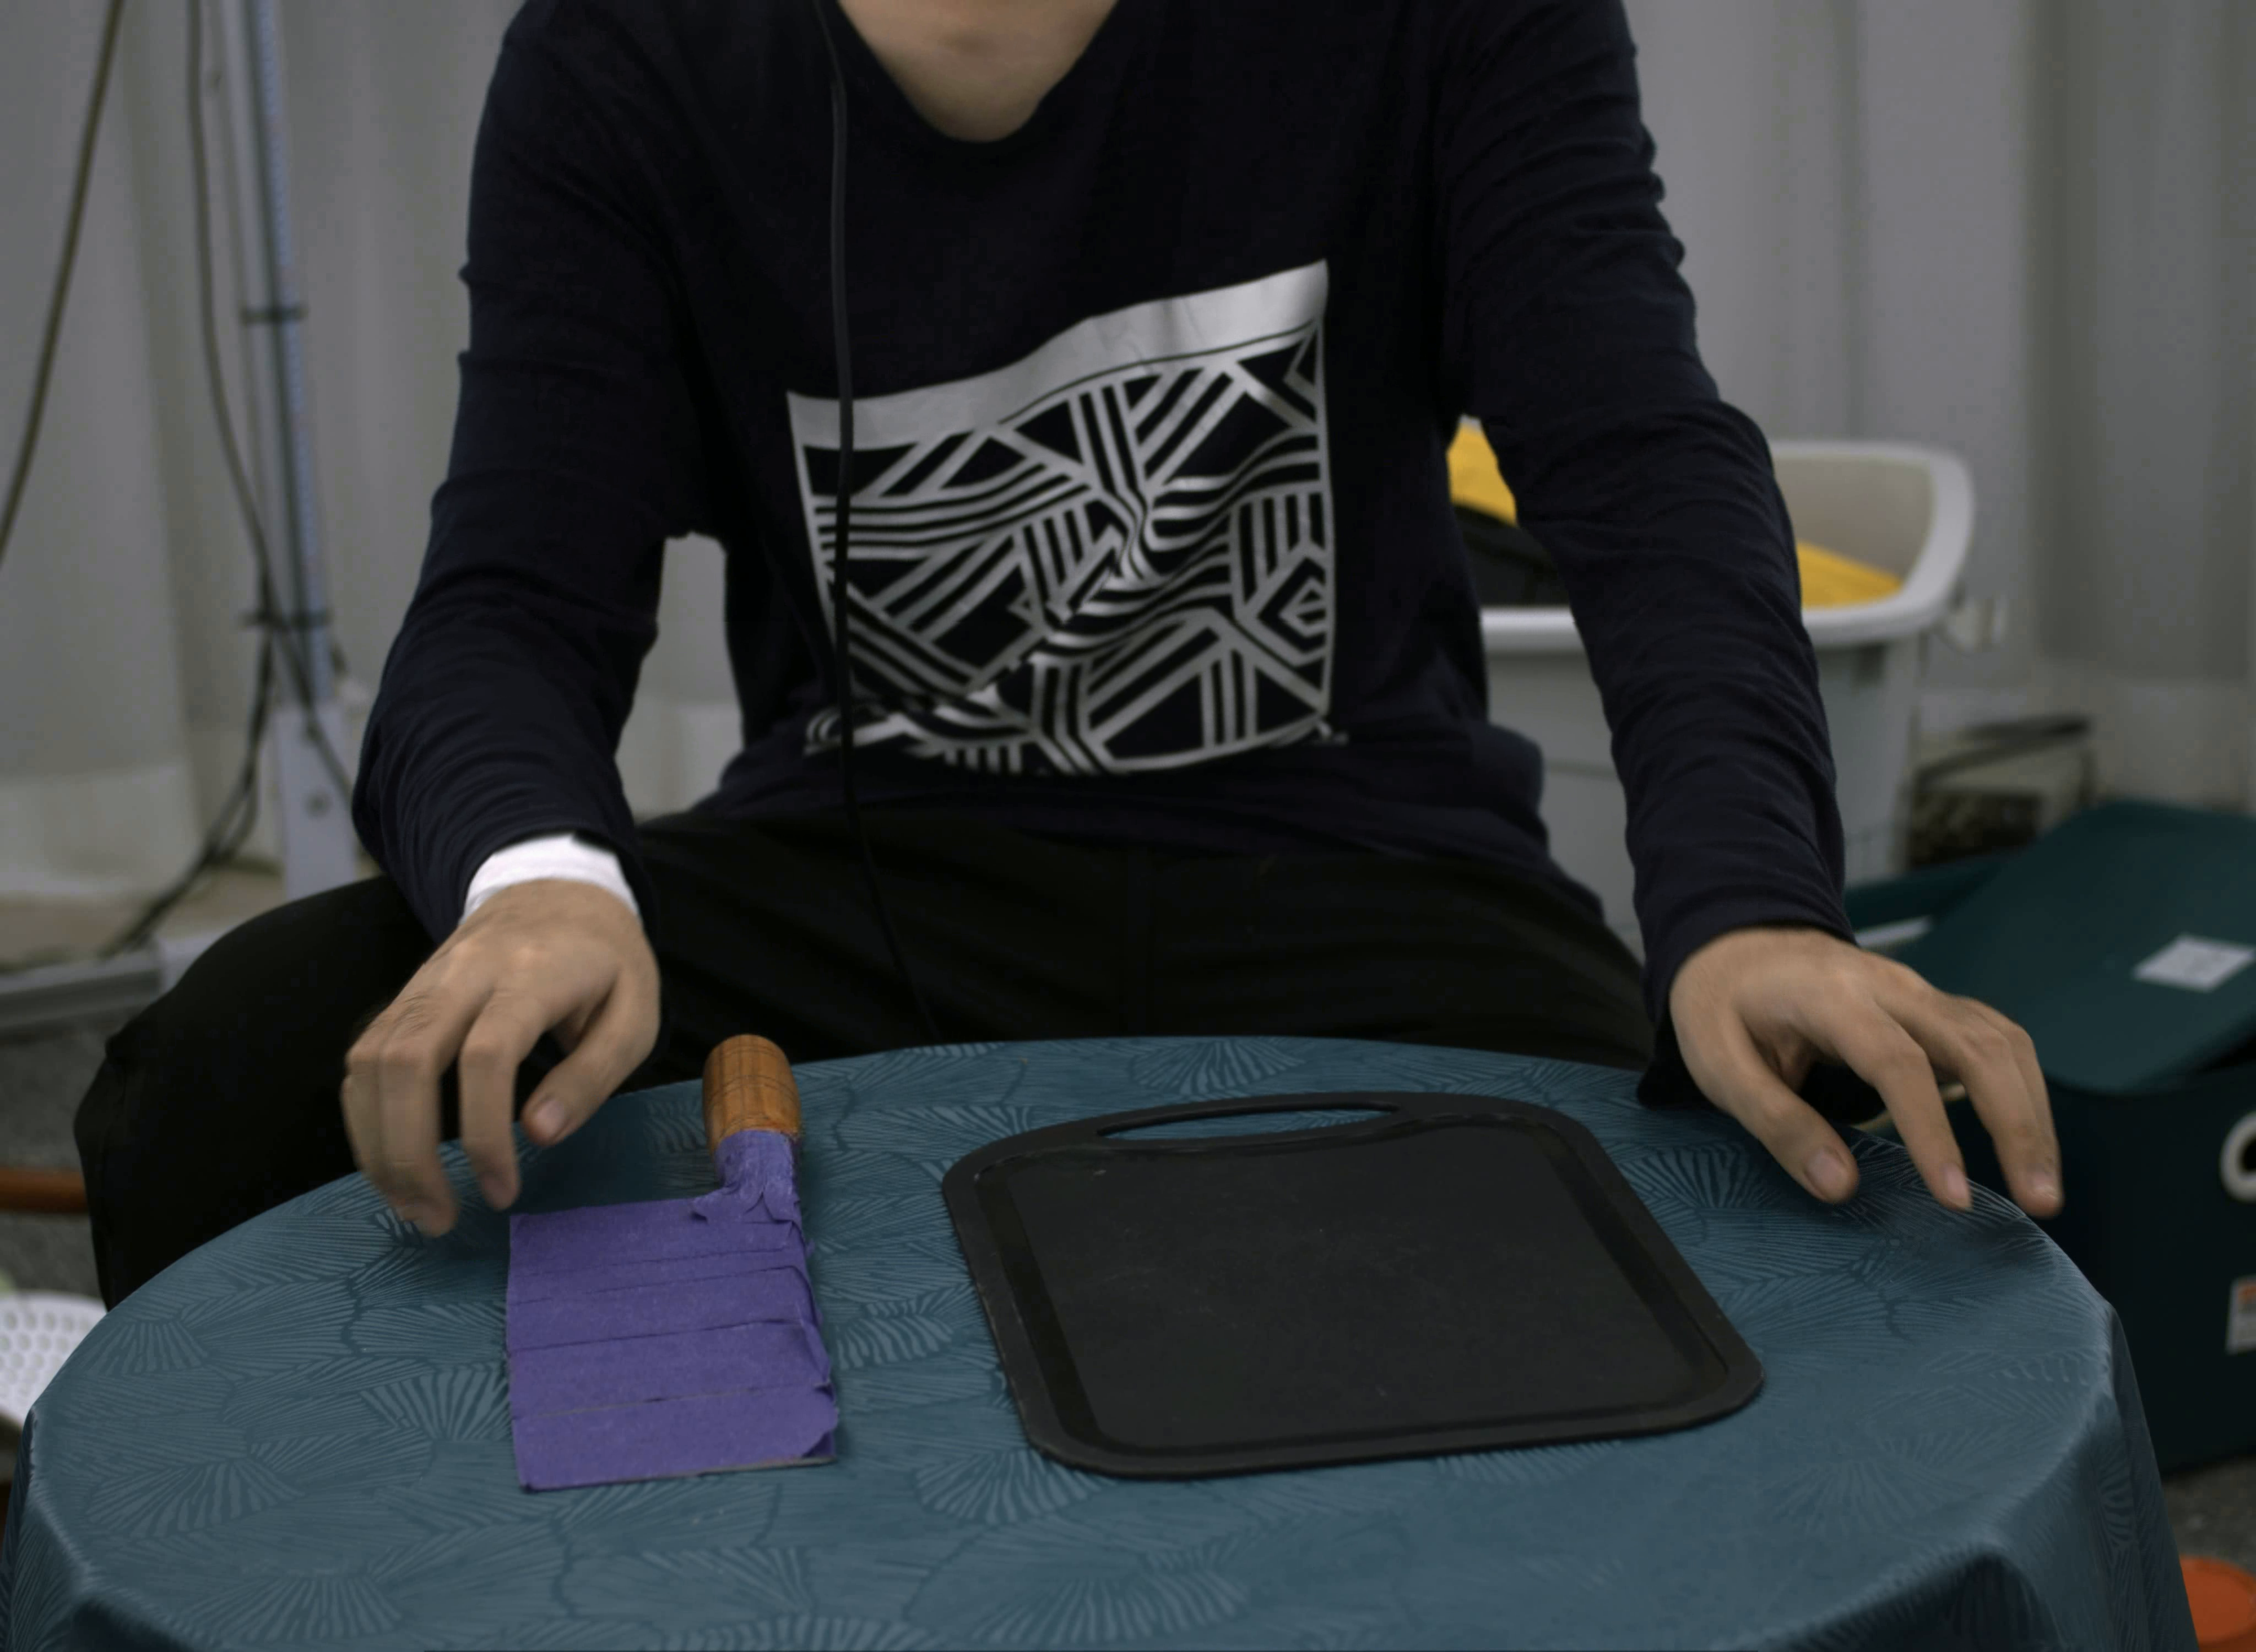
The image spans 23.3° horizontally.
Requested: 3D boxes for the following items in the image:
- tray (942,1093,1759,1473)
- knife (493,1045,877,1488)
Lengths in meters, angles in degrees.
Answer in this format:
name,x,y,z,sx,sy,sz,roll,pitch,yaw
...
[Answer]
name,x,y,z,sx,sy,sz,roll,pitch,yaw
tray,0.057,0.129,1.638,0.210,0.010,0.328,-4,15,-7
knife,-0.139,0.128,1.642,0.103,0.032,0.317,-4,15,-6
